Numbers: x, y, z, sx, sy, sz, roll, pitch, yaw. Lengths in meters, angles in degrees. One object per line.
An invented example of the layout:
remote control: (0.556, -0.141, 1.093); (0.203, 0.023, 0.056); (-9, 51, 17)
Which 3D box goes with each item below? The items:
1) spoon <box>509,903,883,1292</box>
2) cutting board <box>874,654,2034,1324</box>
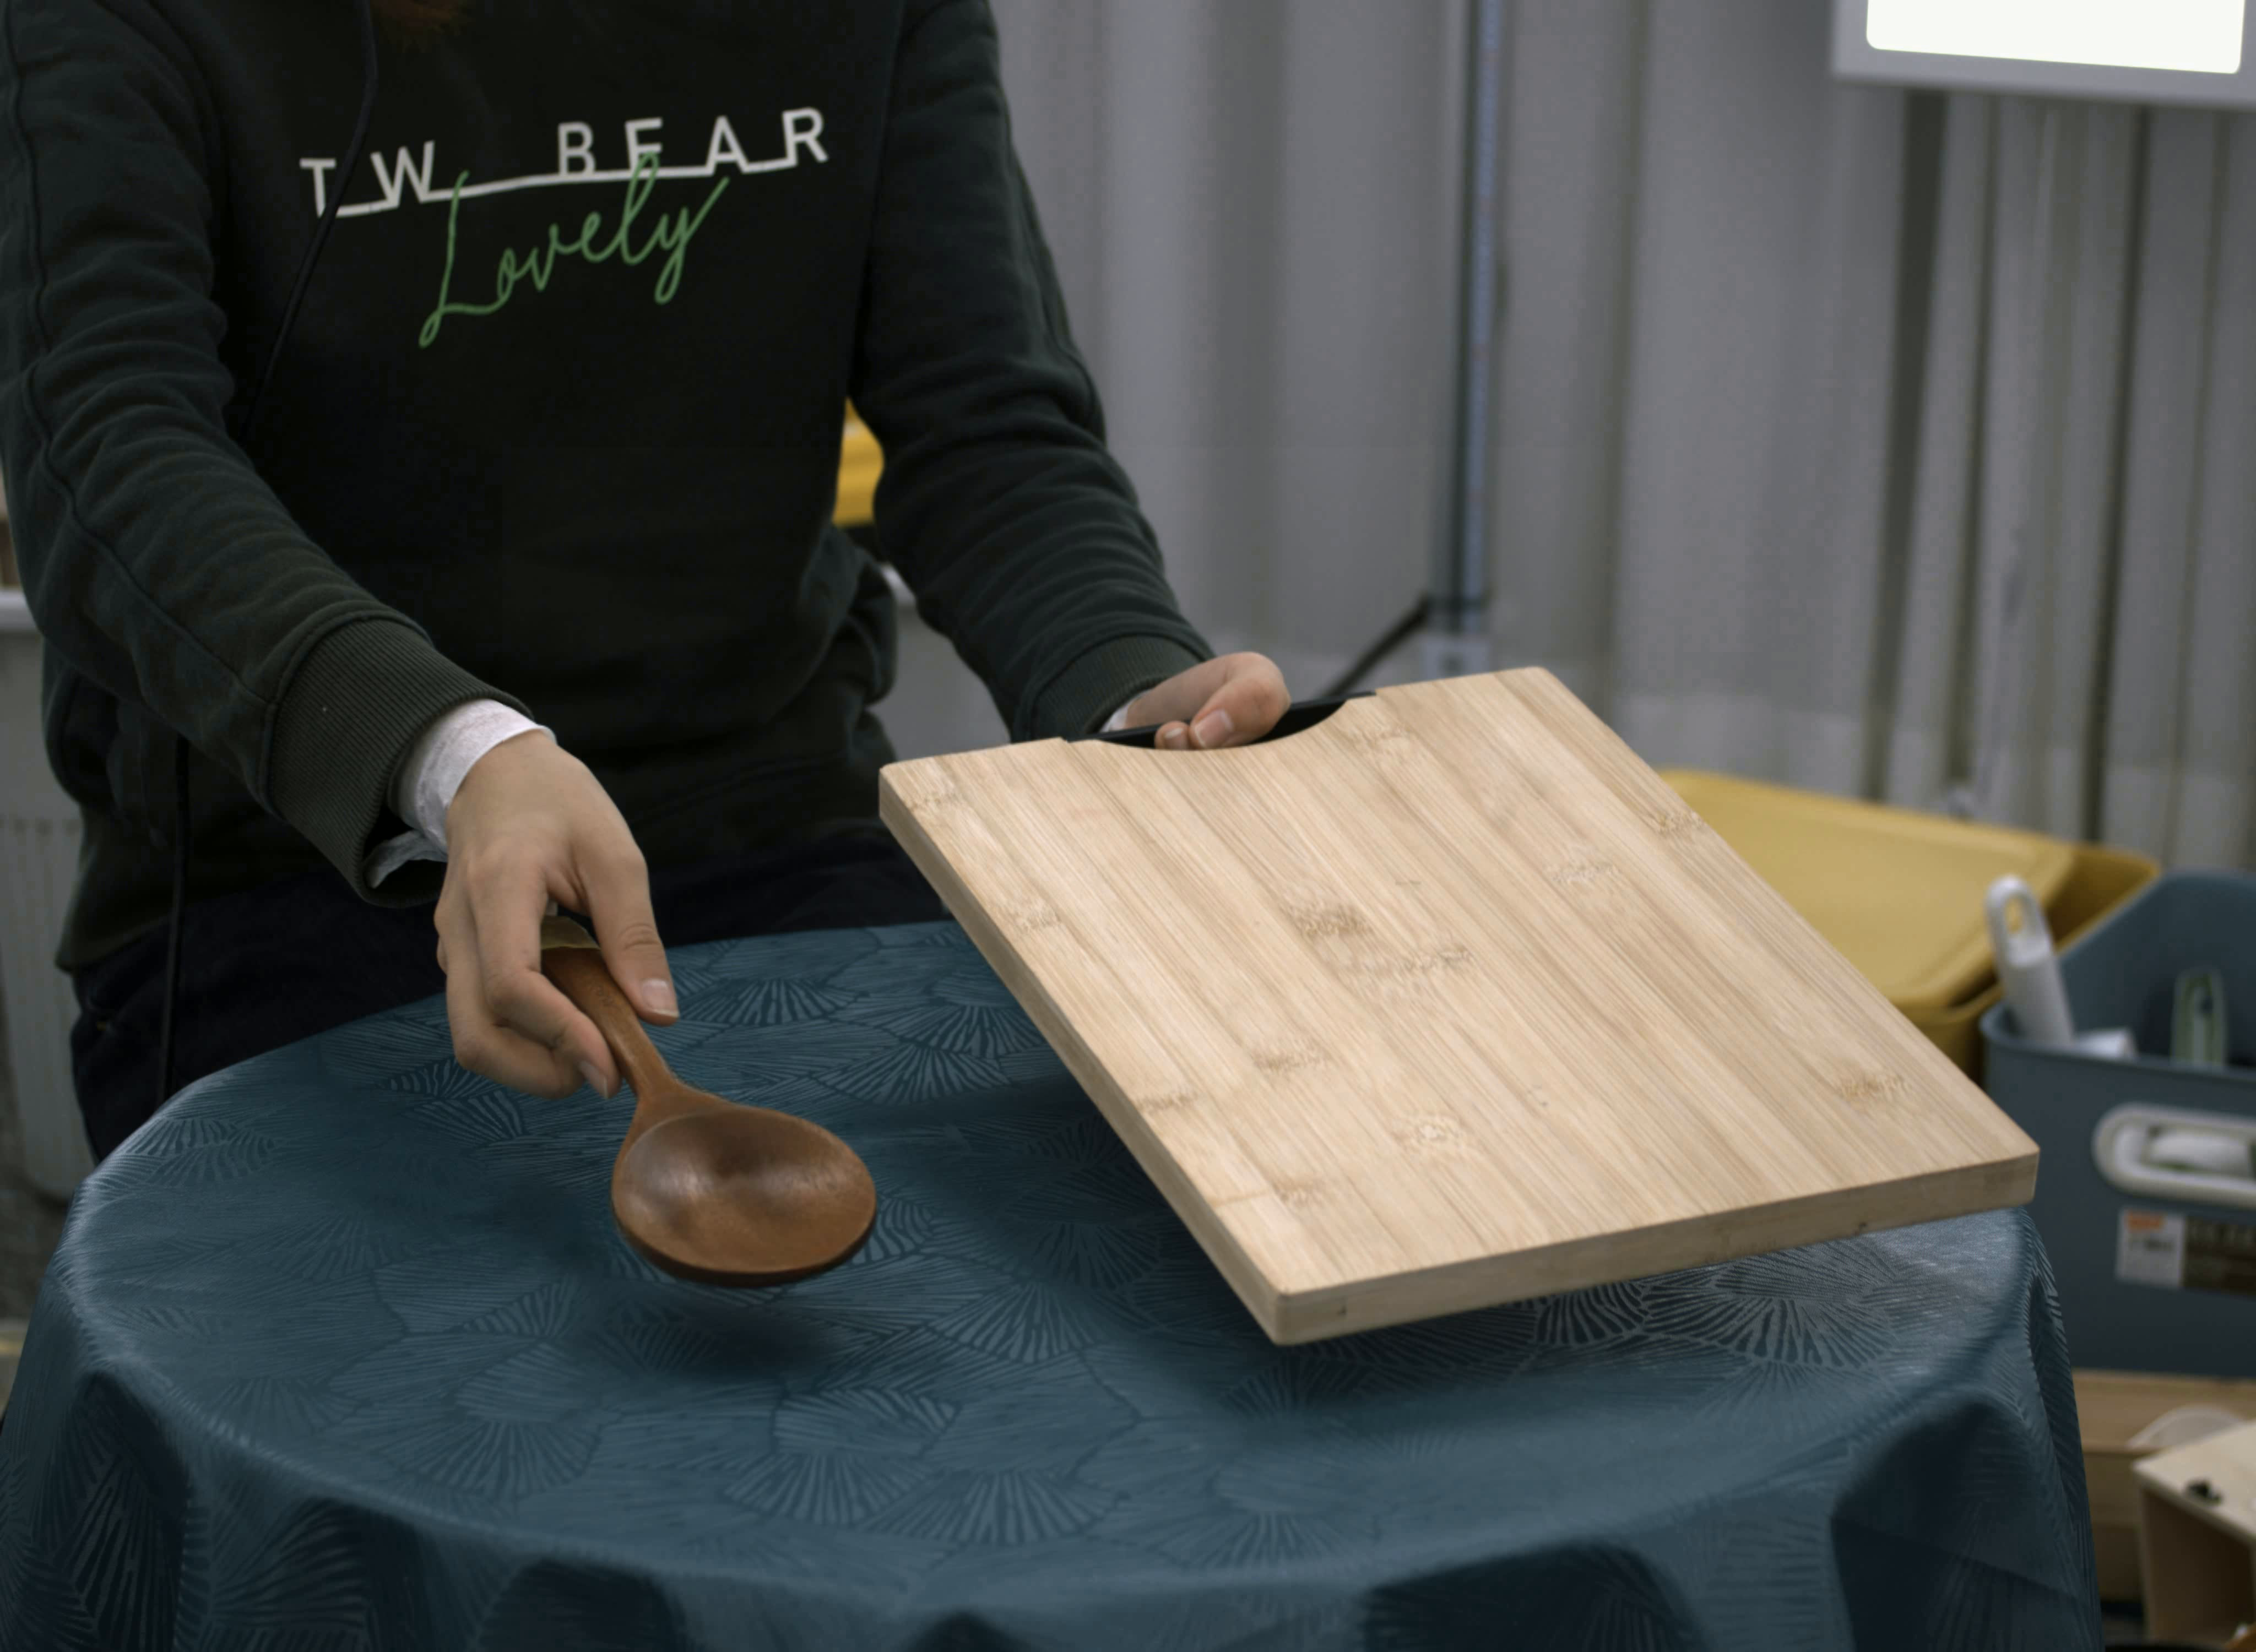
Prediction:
spoon: (-0.136, 0.079, 1.546); (0.075, 0.017, 0.213); (-16, 35, -21)
cutting board: (0.089, 0.041, 1.623); (0.251, 0.024, 0.344); (-9, 30, -21)
